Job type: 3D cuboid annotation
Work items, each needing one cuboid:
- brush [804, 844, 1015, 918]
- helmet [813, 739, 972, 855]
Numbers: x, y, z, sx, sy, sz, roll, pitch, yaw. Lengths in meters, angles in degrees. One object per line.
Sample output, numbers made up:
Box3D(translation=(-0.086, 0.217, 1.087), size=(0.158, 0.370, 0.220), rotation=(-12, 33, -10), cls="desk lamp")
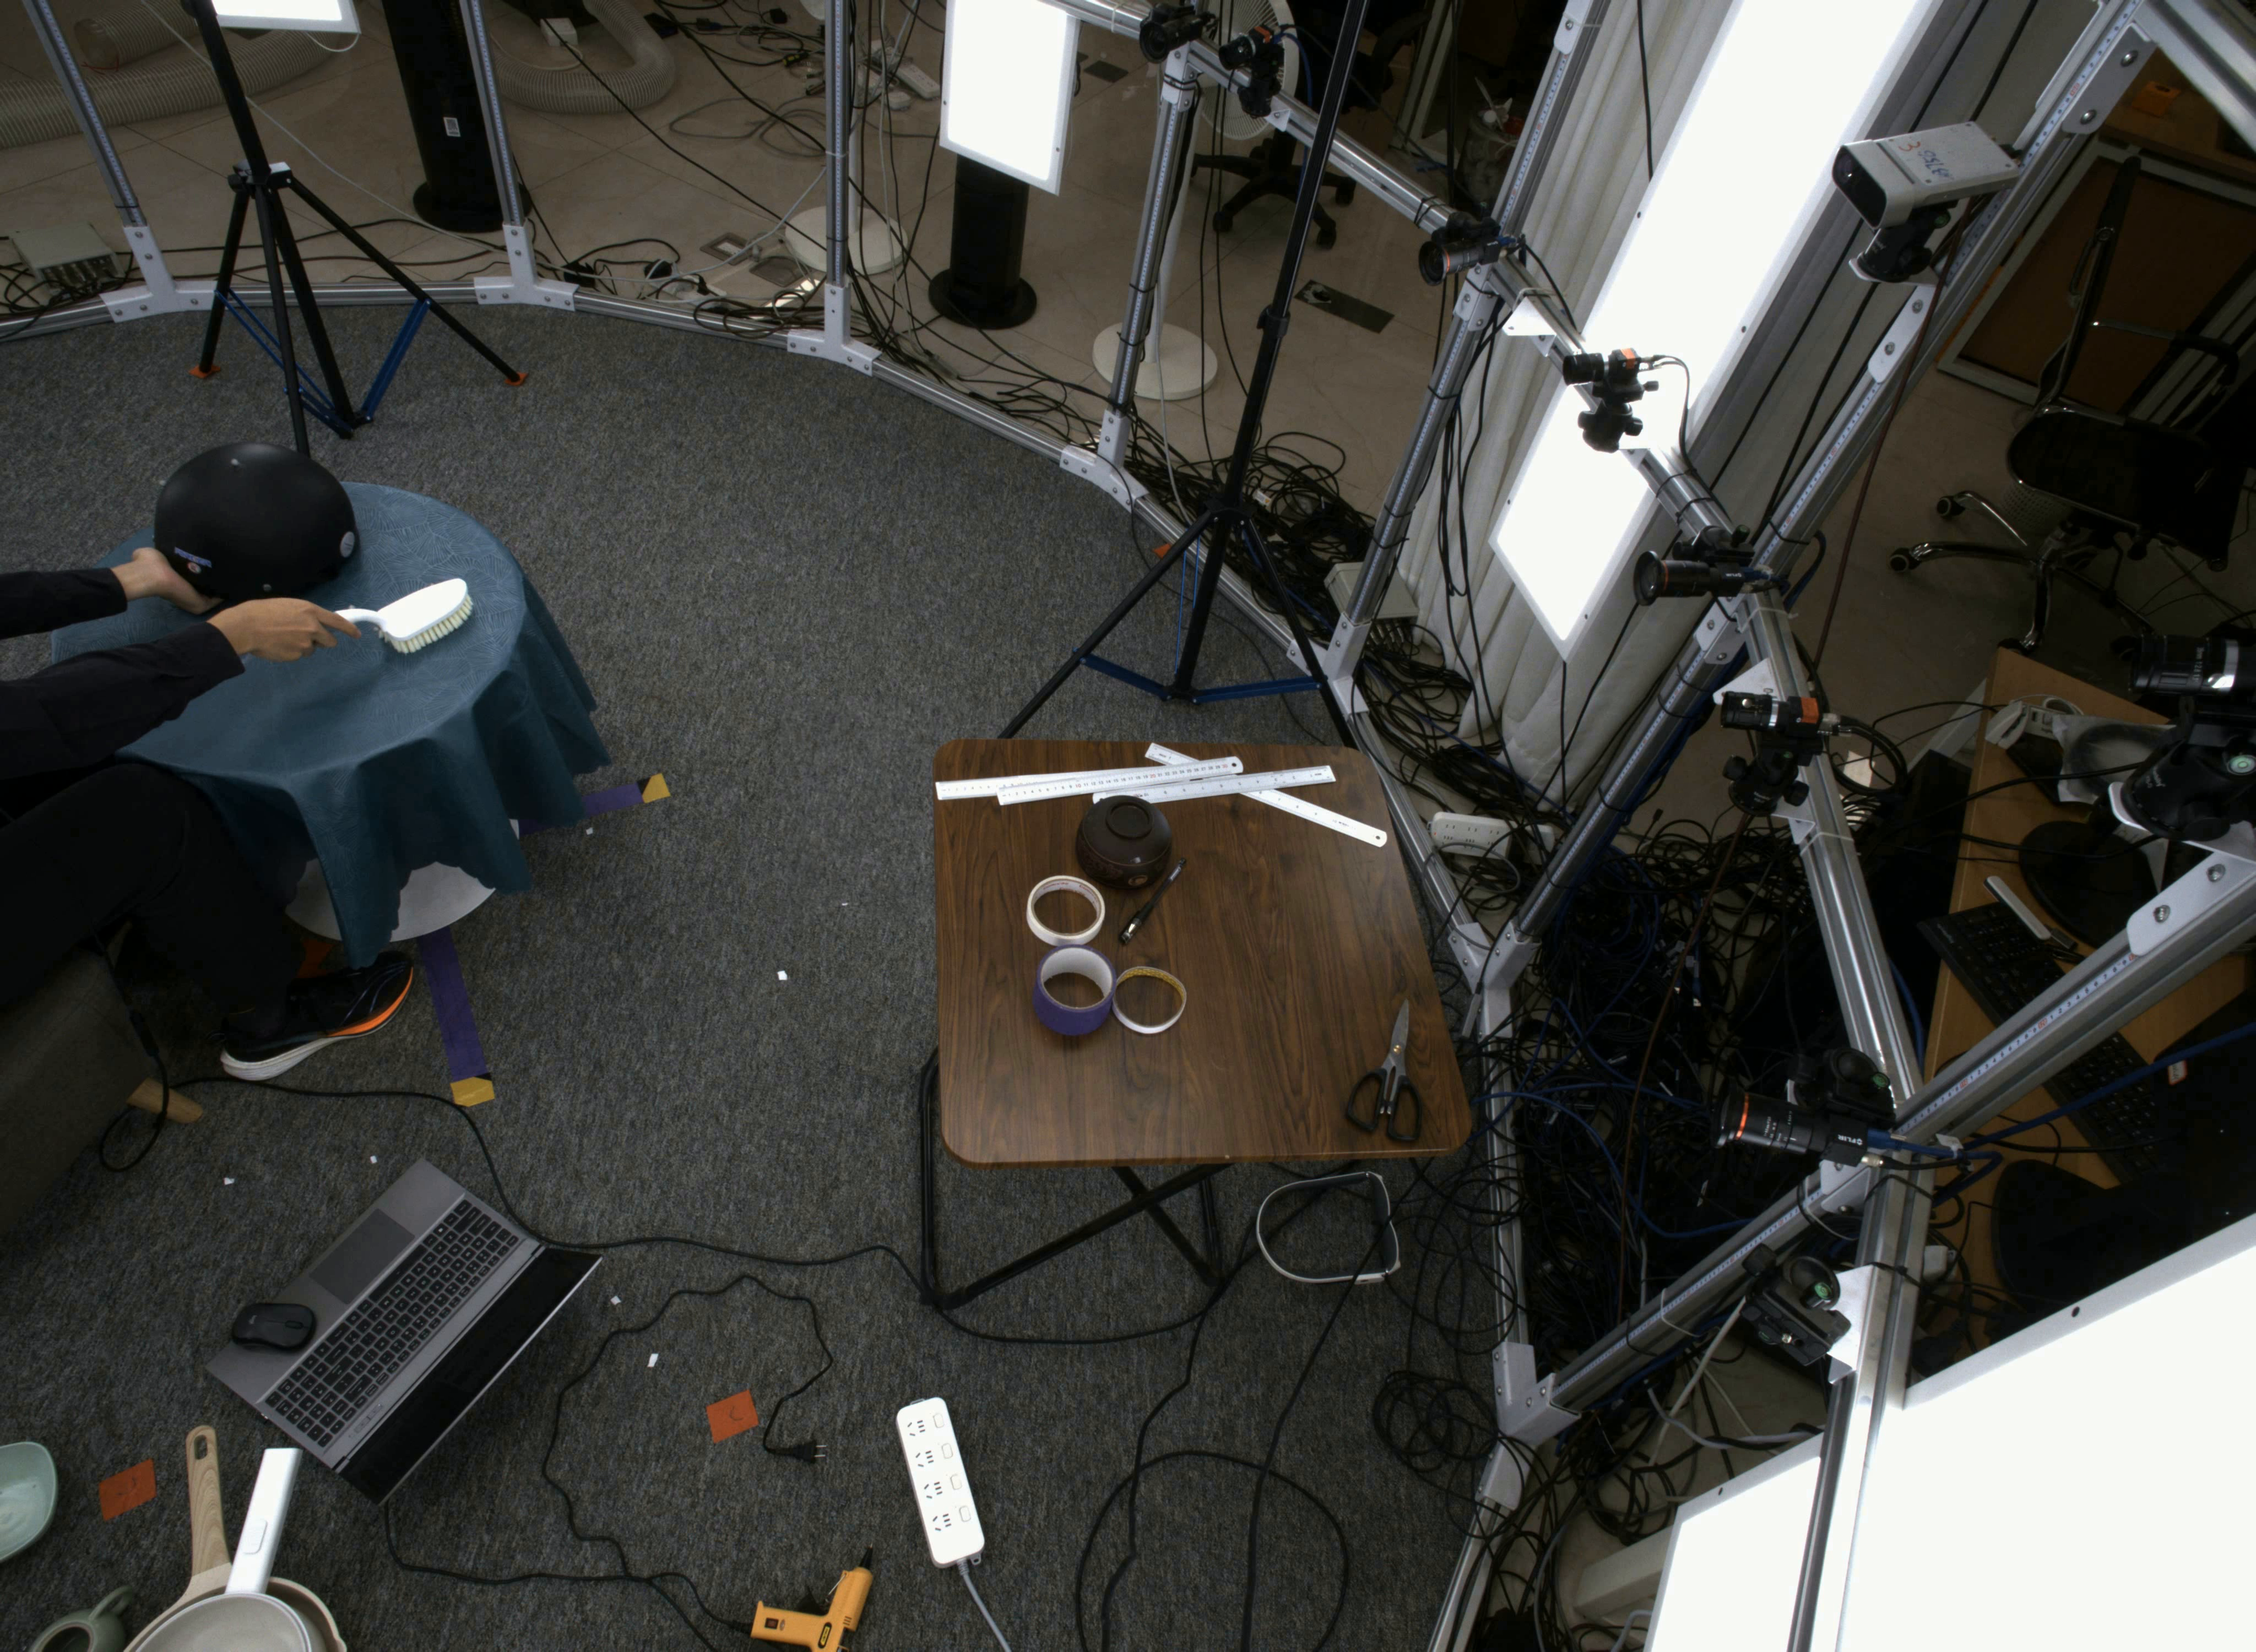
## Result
Box3D(translation=(-0.326, 0.091, 1.949), size=(0.330, 0.084, 0.082), rotation=(8, -15, -24), cls="brush")
Box3D(translation=(-0.376, -0.057, 2.147), size=(0.278, 0.170, 0.221), rotation=(-5, 31, -41), cls="helmet")
